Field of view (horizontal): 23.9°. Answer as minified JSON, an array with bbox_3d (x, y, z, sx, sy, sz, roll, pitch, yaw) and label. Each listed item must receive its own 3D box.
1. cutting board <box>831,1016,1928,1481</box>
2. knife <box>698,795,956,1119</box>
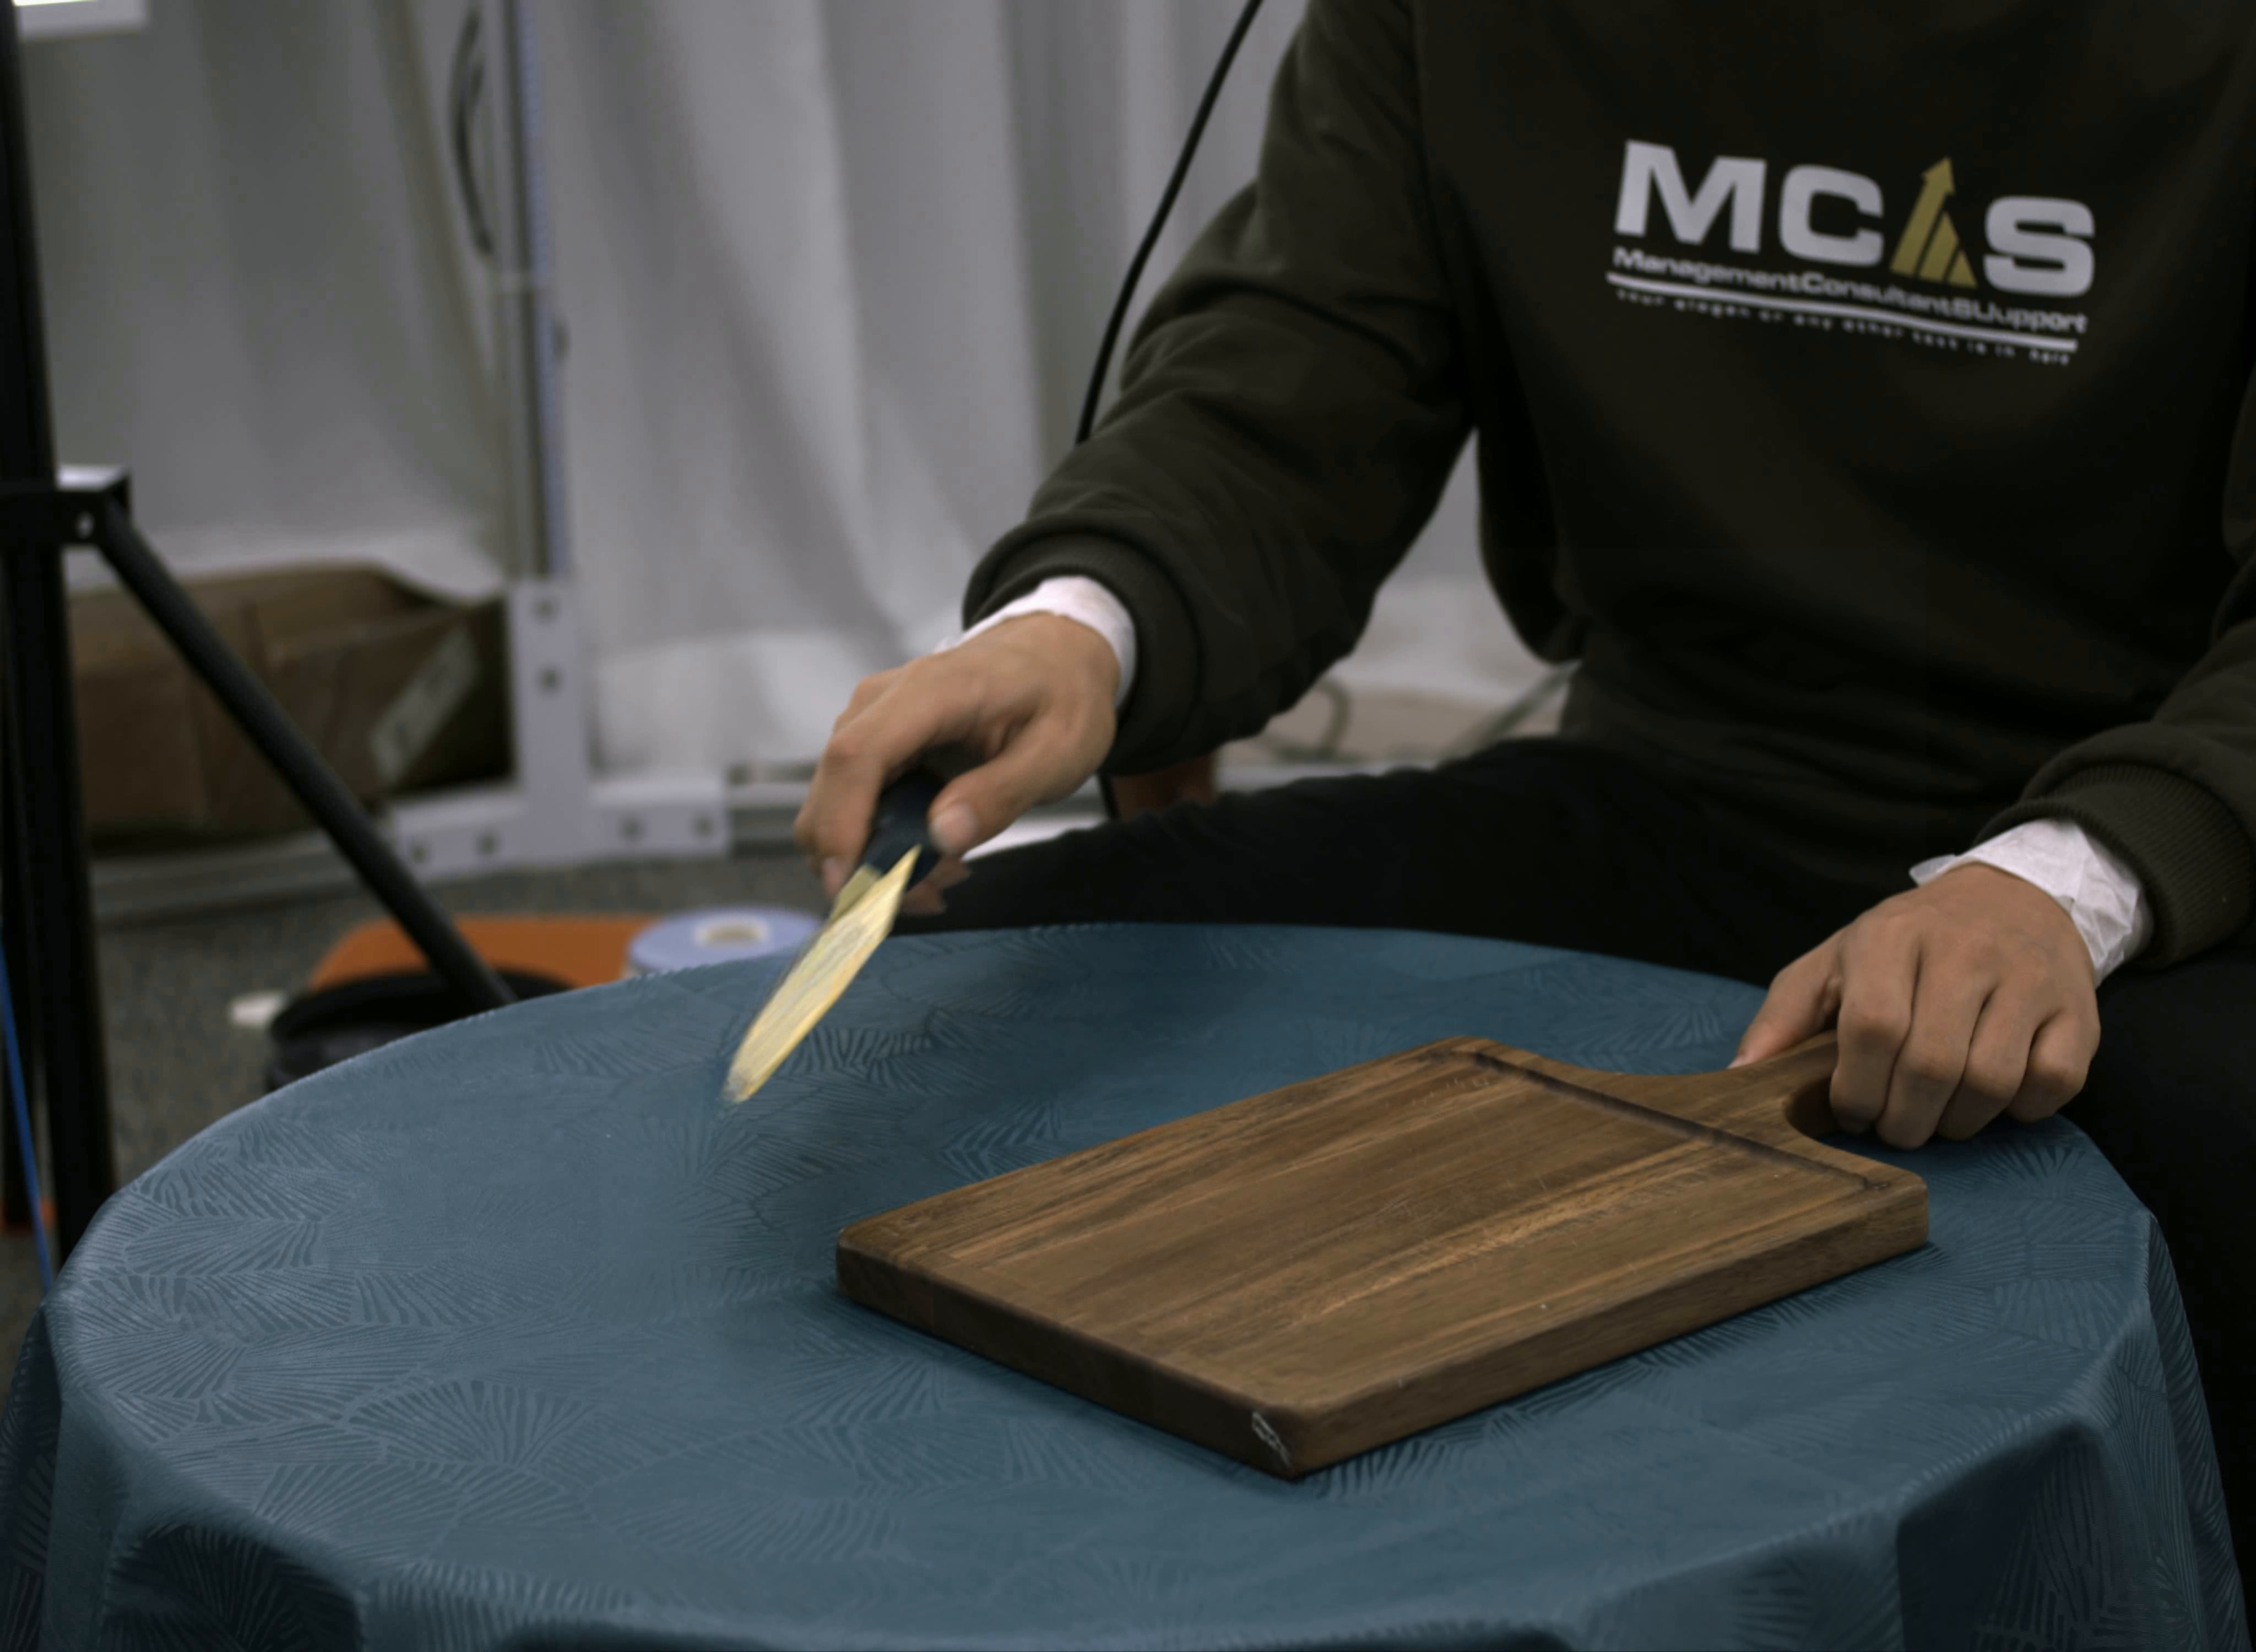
[{"bbox_3d":[0.109,0.105,1.515,0.344,0.023,0.206,-15,21,-38],"label":"cutting board"},{"bbox_3d":[-0.090,0.037,1.614,0.081,0.027,0.289,-43,5,14],"label":"knife"}]
